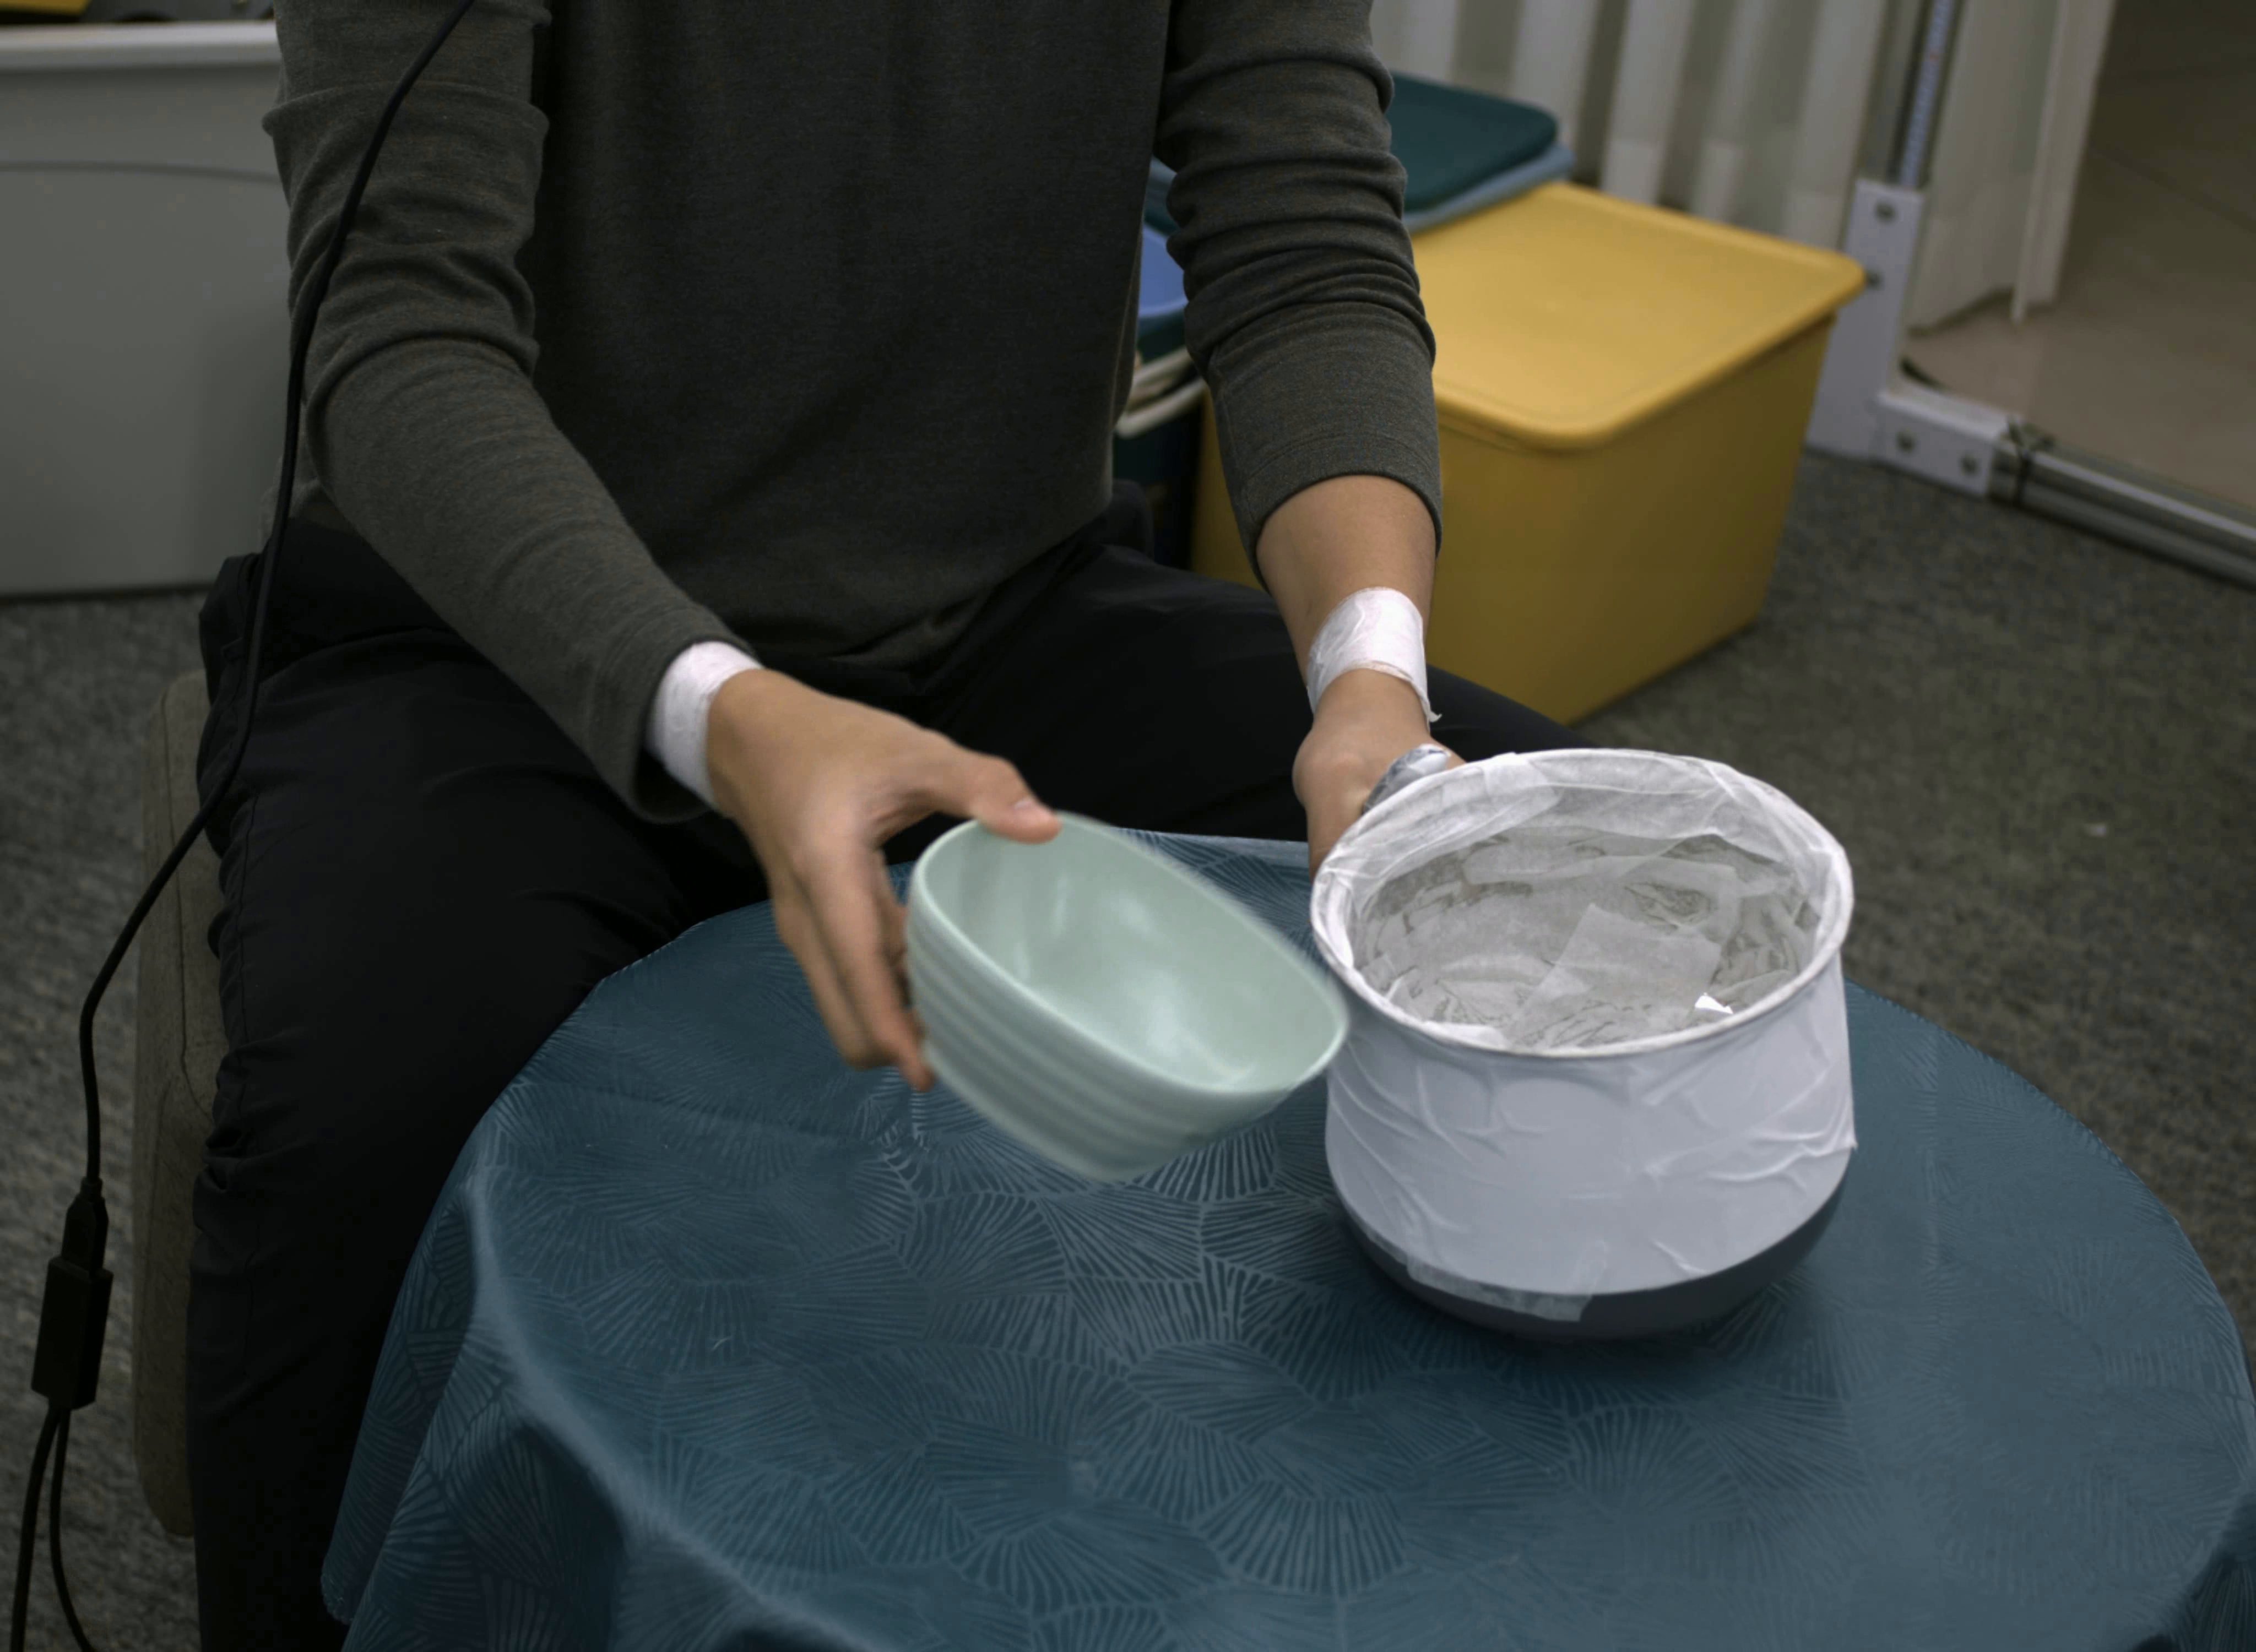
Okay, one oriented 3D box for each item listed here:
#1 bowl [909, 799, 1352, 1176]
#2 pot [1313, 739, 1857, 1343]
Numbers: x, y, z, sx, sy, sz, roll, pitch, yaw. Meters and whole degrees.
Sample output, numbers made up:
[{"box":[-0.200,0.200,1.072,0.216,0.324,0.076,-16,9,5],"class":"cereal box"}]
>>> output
[{"box":[-0.008,0.057,1.661,0.150,0.058,0.152,22,26,-11],"class":"bowl"},{"box":[0.138,0.062,1.783,0.178,0.136,0.236,-20,36,-22],"class":"pot"}]
